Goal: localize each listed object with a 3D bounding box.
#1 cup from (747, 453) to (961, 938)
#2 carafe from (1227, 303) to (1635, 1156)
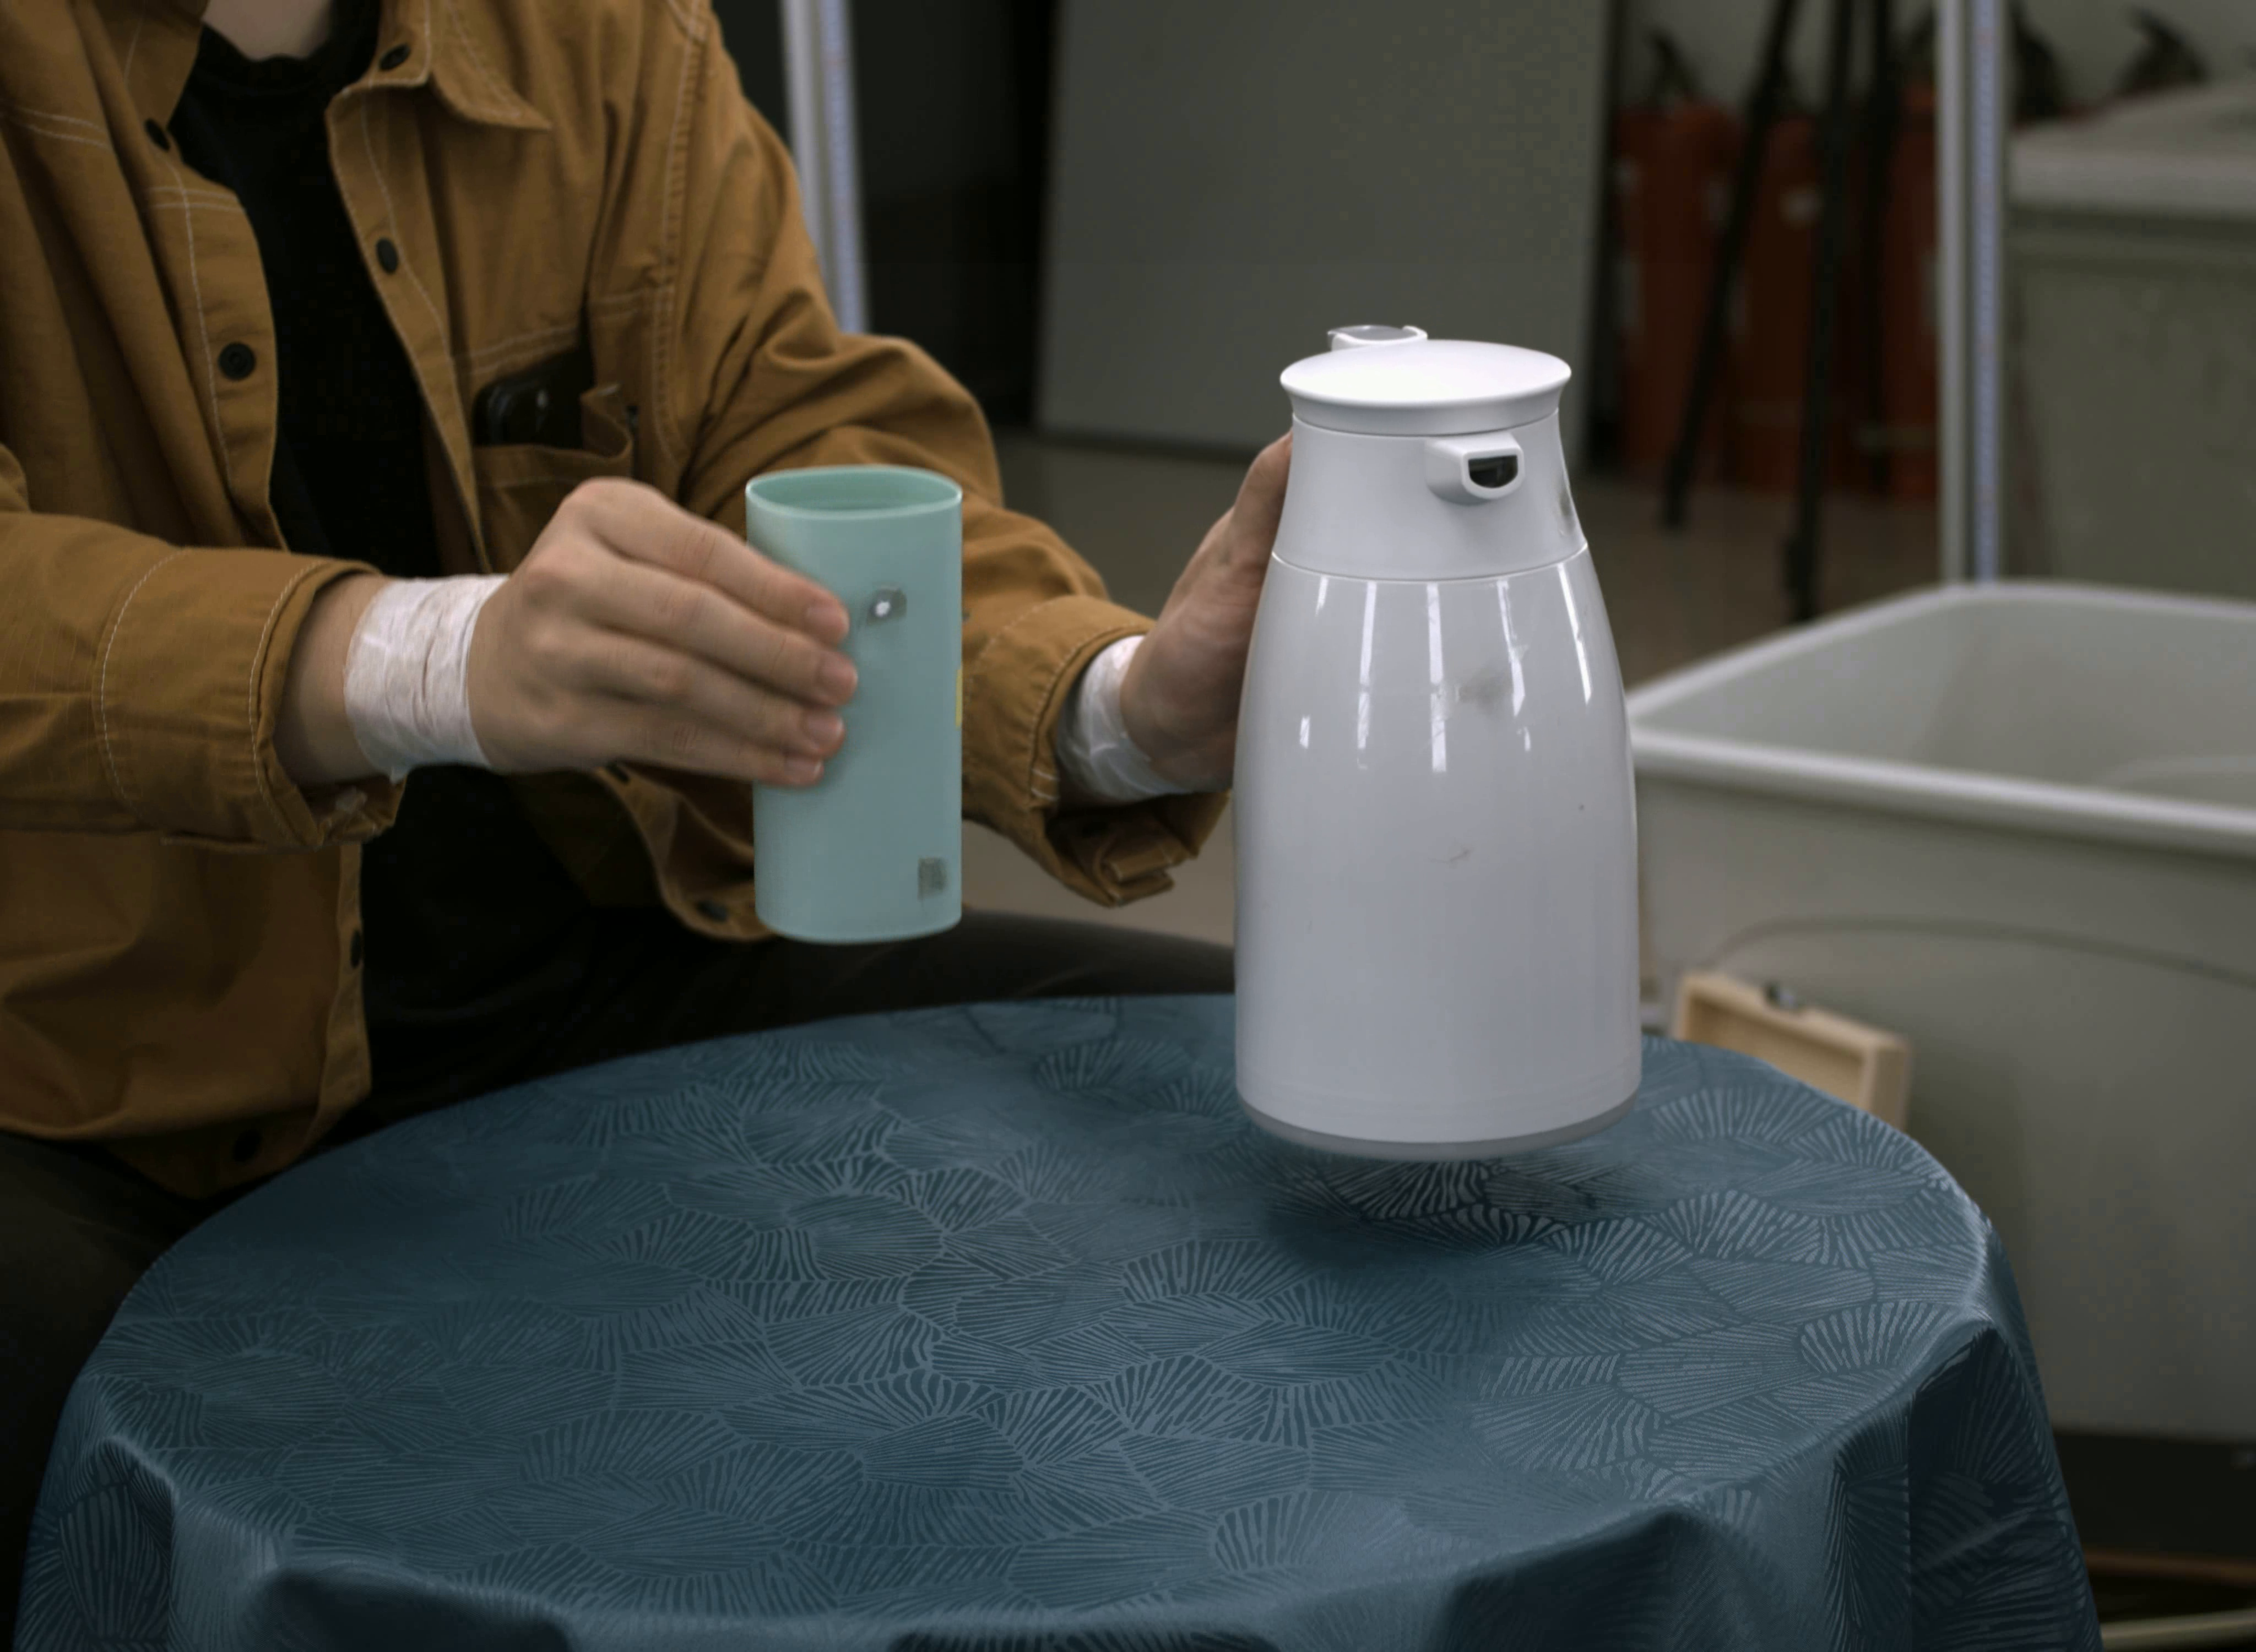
[{"bbox_3d":[-0.082,-0.039,1.597,0.066,0.134,0.067,0,15,-1],"label":"cup"},{"bbox_3d":[0.088,-0.039,1.726,0.130,0.251,0.169,-7,15,-15],"label":"carafe"}]
